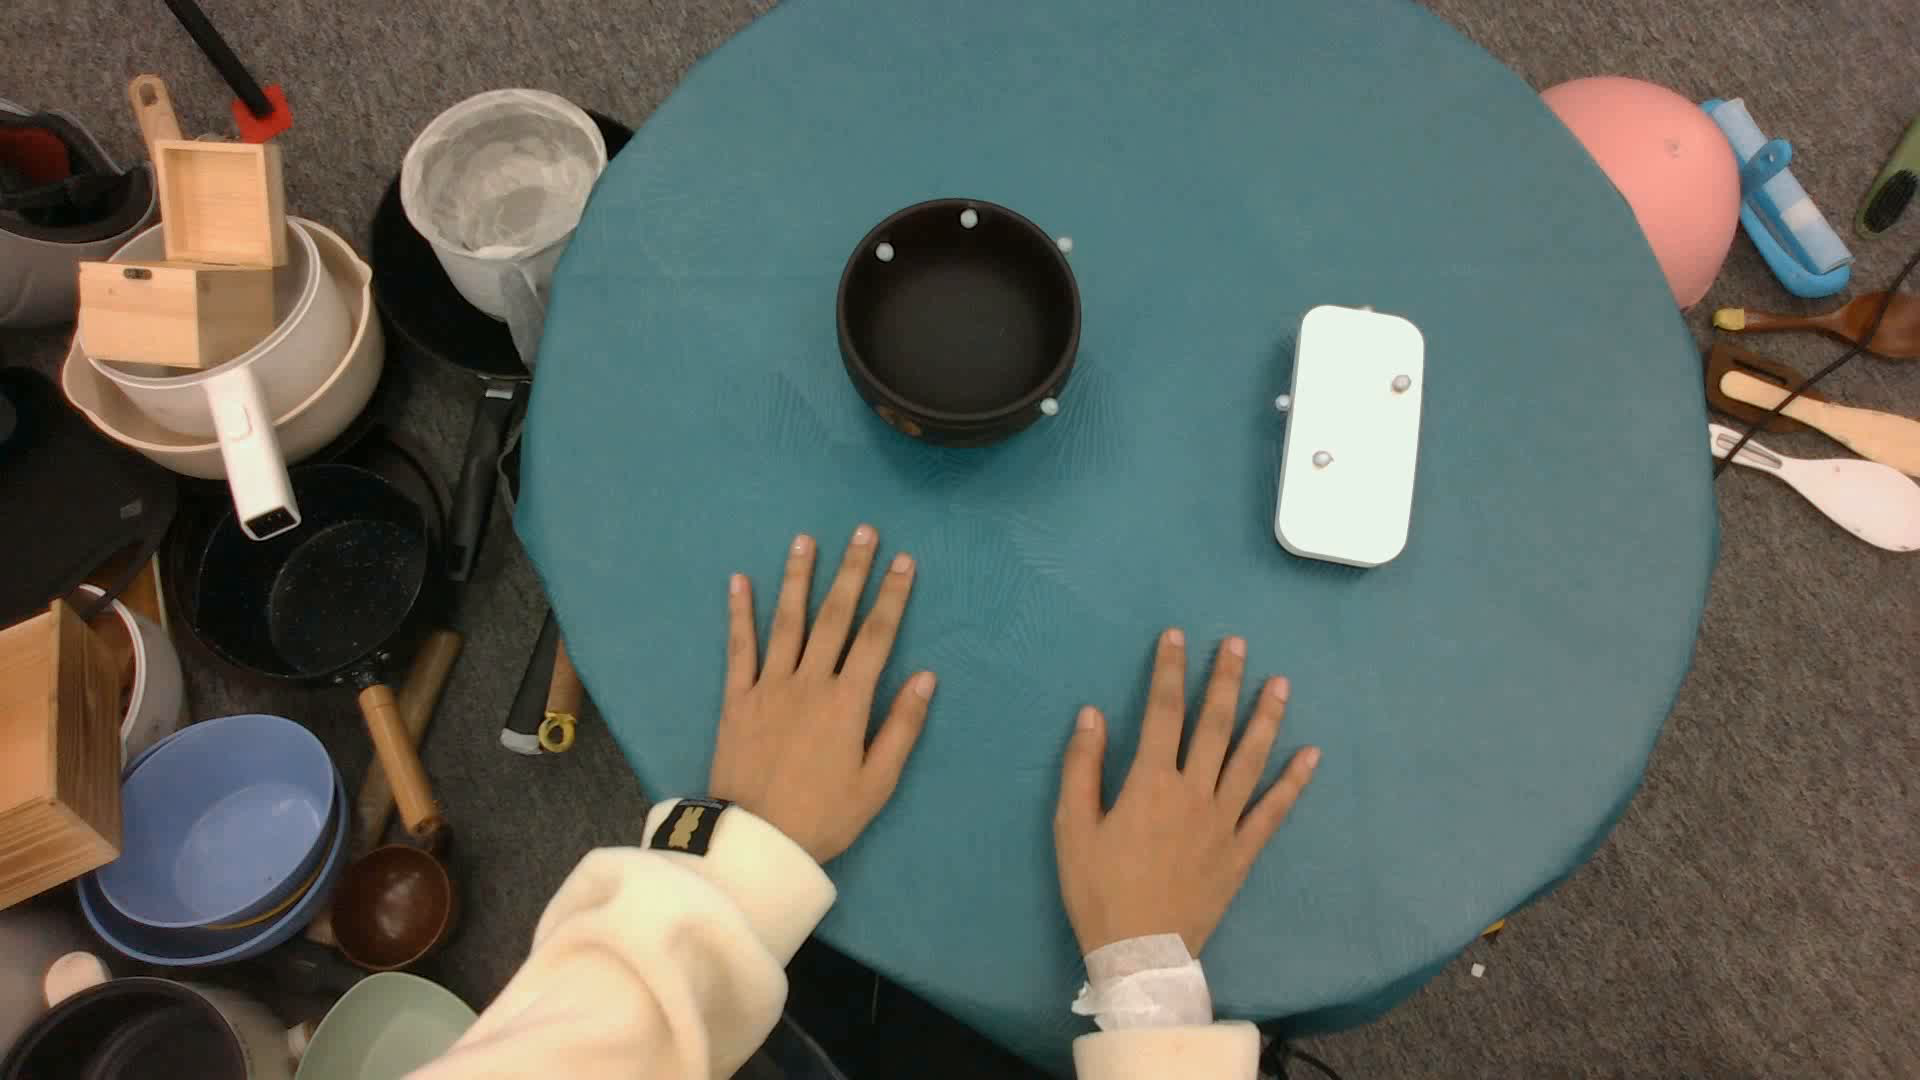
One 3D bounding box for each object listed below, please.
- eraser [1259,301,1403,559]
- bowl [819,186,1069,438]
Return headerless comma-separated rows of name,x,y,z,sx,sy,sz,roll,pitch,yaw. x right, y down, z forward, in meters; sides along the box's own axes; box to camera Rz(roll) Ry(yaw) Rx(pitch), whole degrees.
eraser,0.183,-0.056,0.684,0.063,0.034,0.131,11,72,0
bowl,-0.008,-0.103,0.667,0.118,0.069,0.118,0,73,-1
